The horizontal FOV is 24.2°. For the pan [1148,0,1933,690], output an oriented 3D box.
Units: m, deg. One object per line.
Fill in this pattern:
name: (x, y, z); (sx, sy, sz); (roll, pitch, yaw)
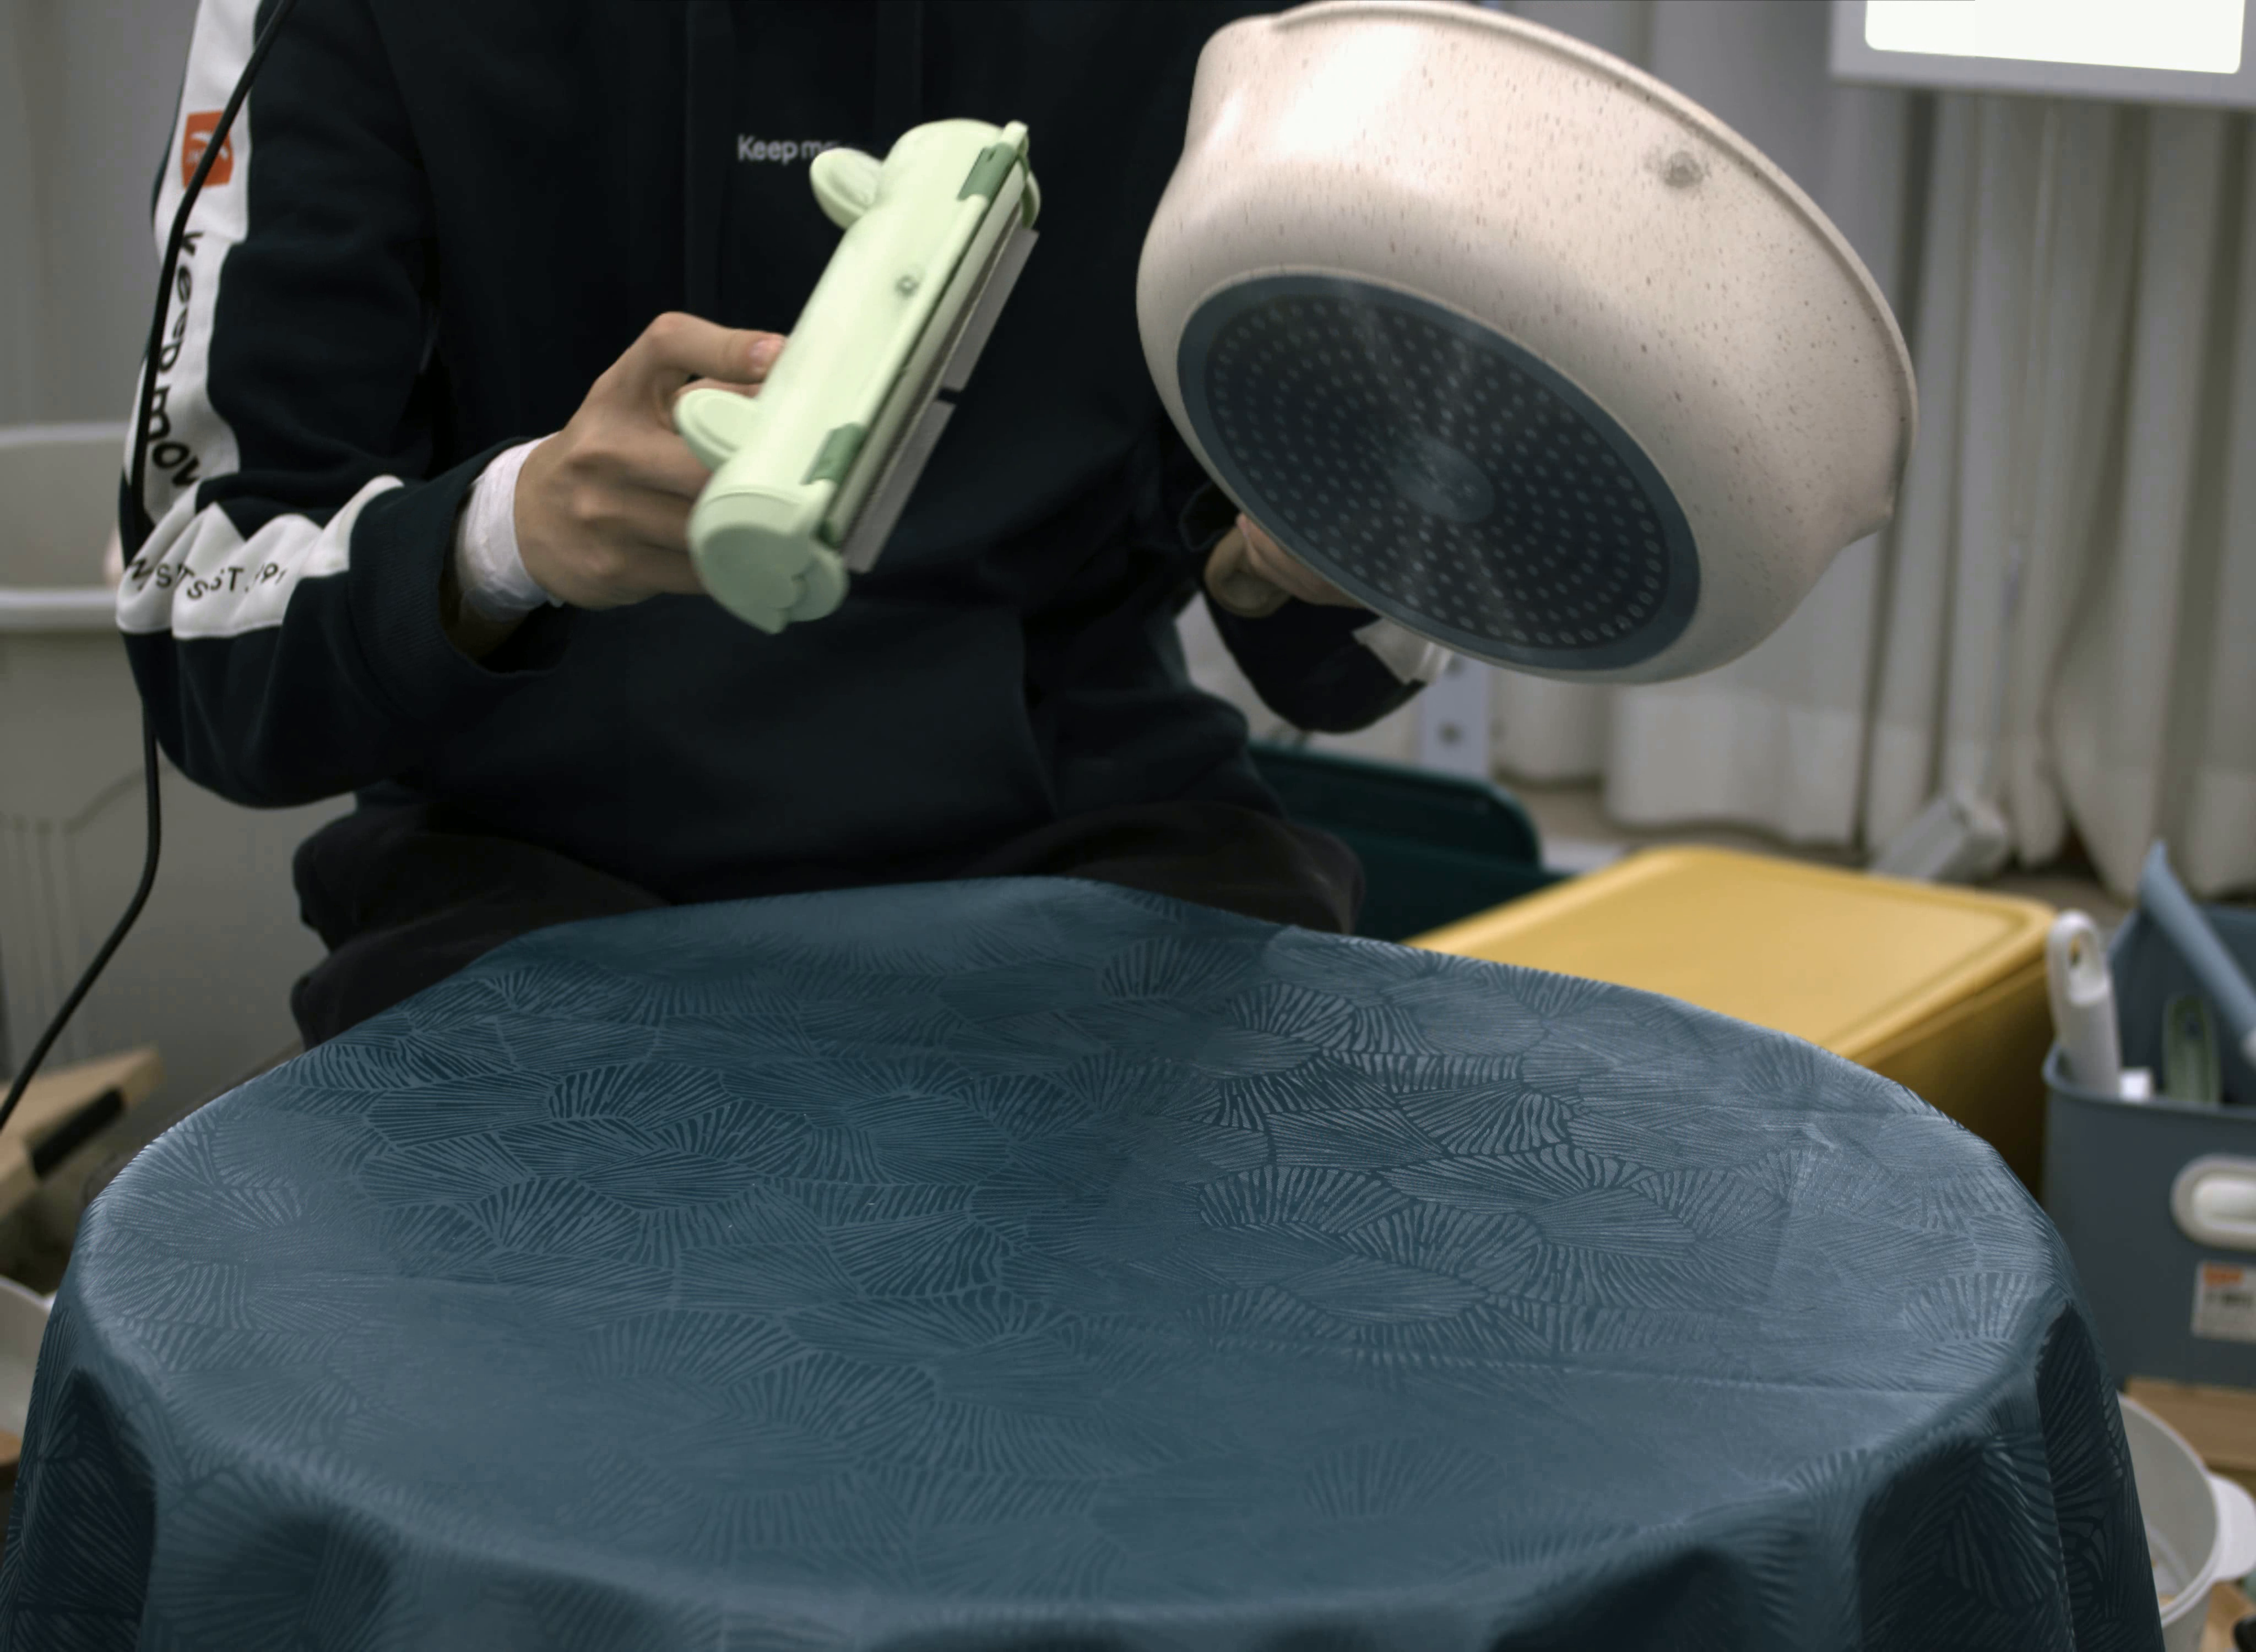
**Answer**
pan: (0.090, -0.116, 1.719); (0.264, 0.102, 0.434); (33, -26, -8)

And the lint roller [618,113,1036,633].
lint roller: (-0.125, -0.141, 1.733); (0.182, 0.083, 0.198); (-18, 37, 41)
